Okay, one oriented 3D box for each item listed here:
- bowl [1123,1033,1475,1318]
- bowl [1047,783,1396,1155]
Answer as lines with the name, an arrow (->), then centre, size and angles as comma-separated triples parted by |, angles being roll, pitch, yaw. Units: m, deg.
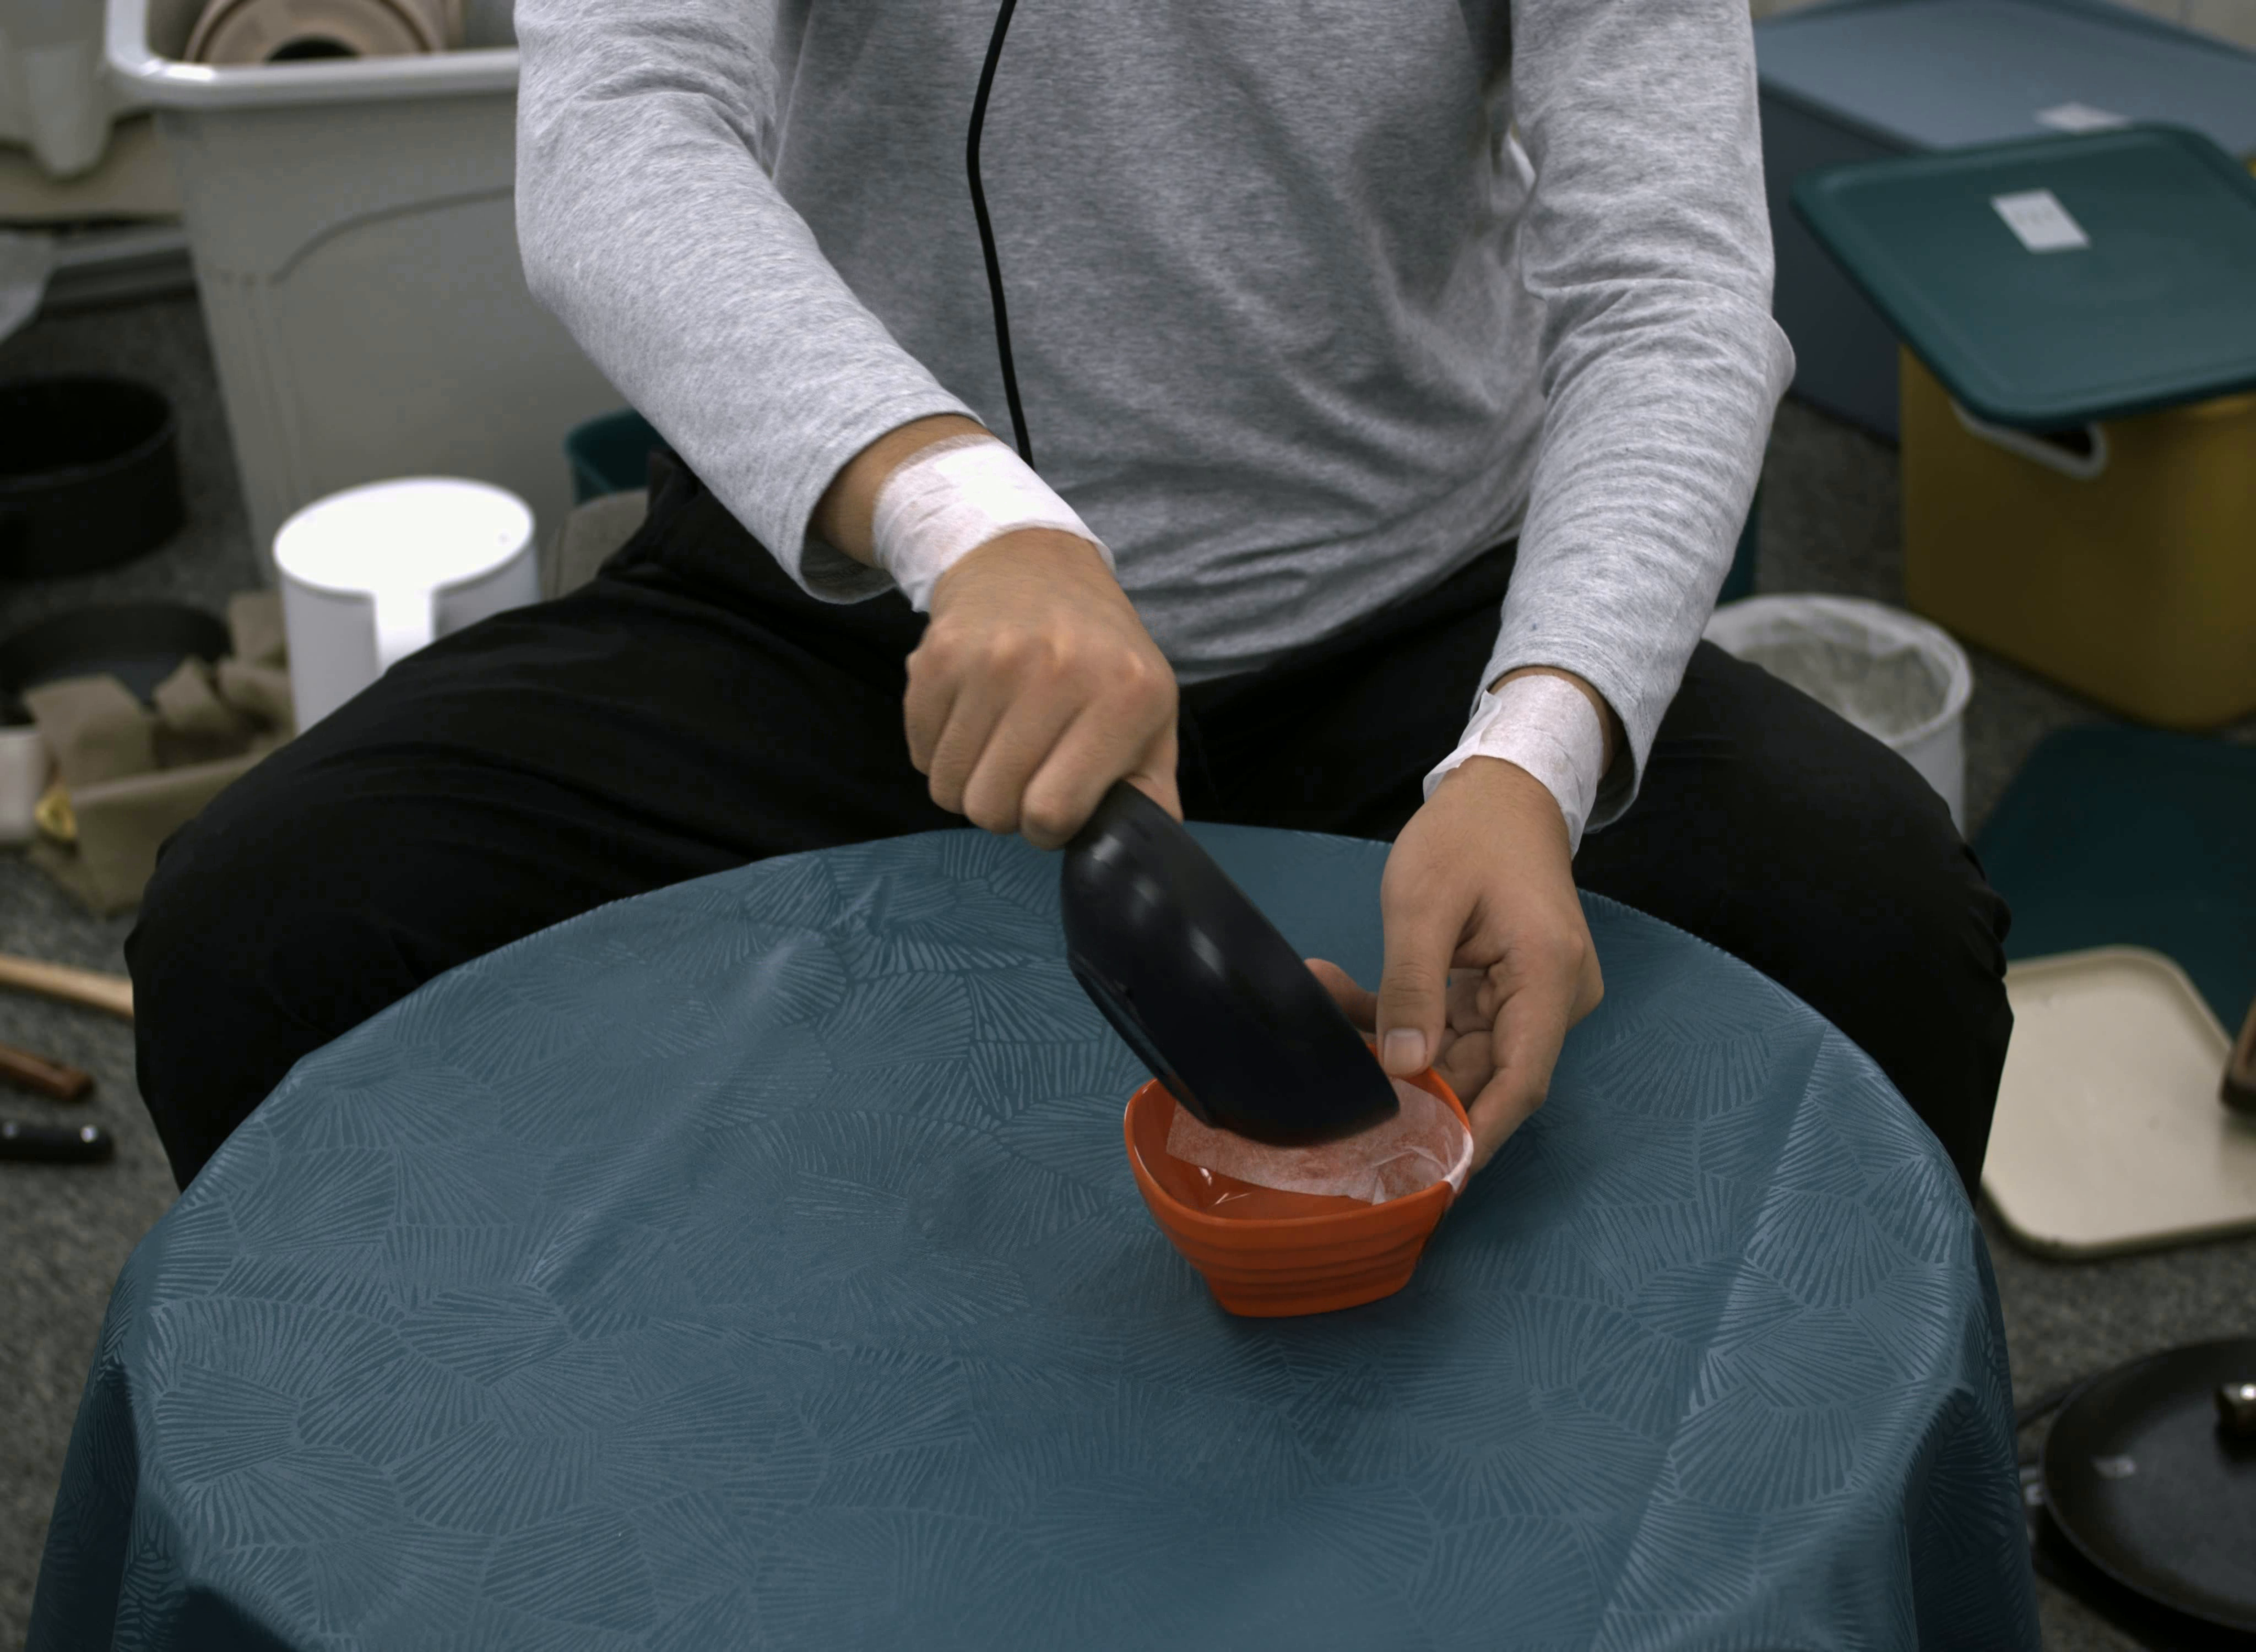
bowl -> 0.056, 0.117, 1.808 | 0.118, 0.051, 0.121 | -3, 29, 2
bowl -> 0.019, 0.055, 1.751 | 0.050, 0.138, 0.140 | -42, 39, -12
